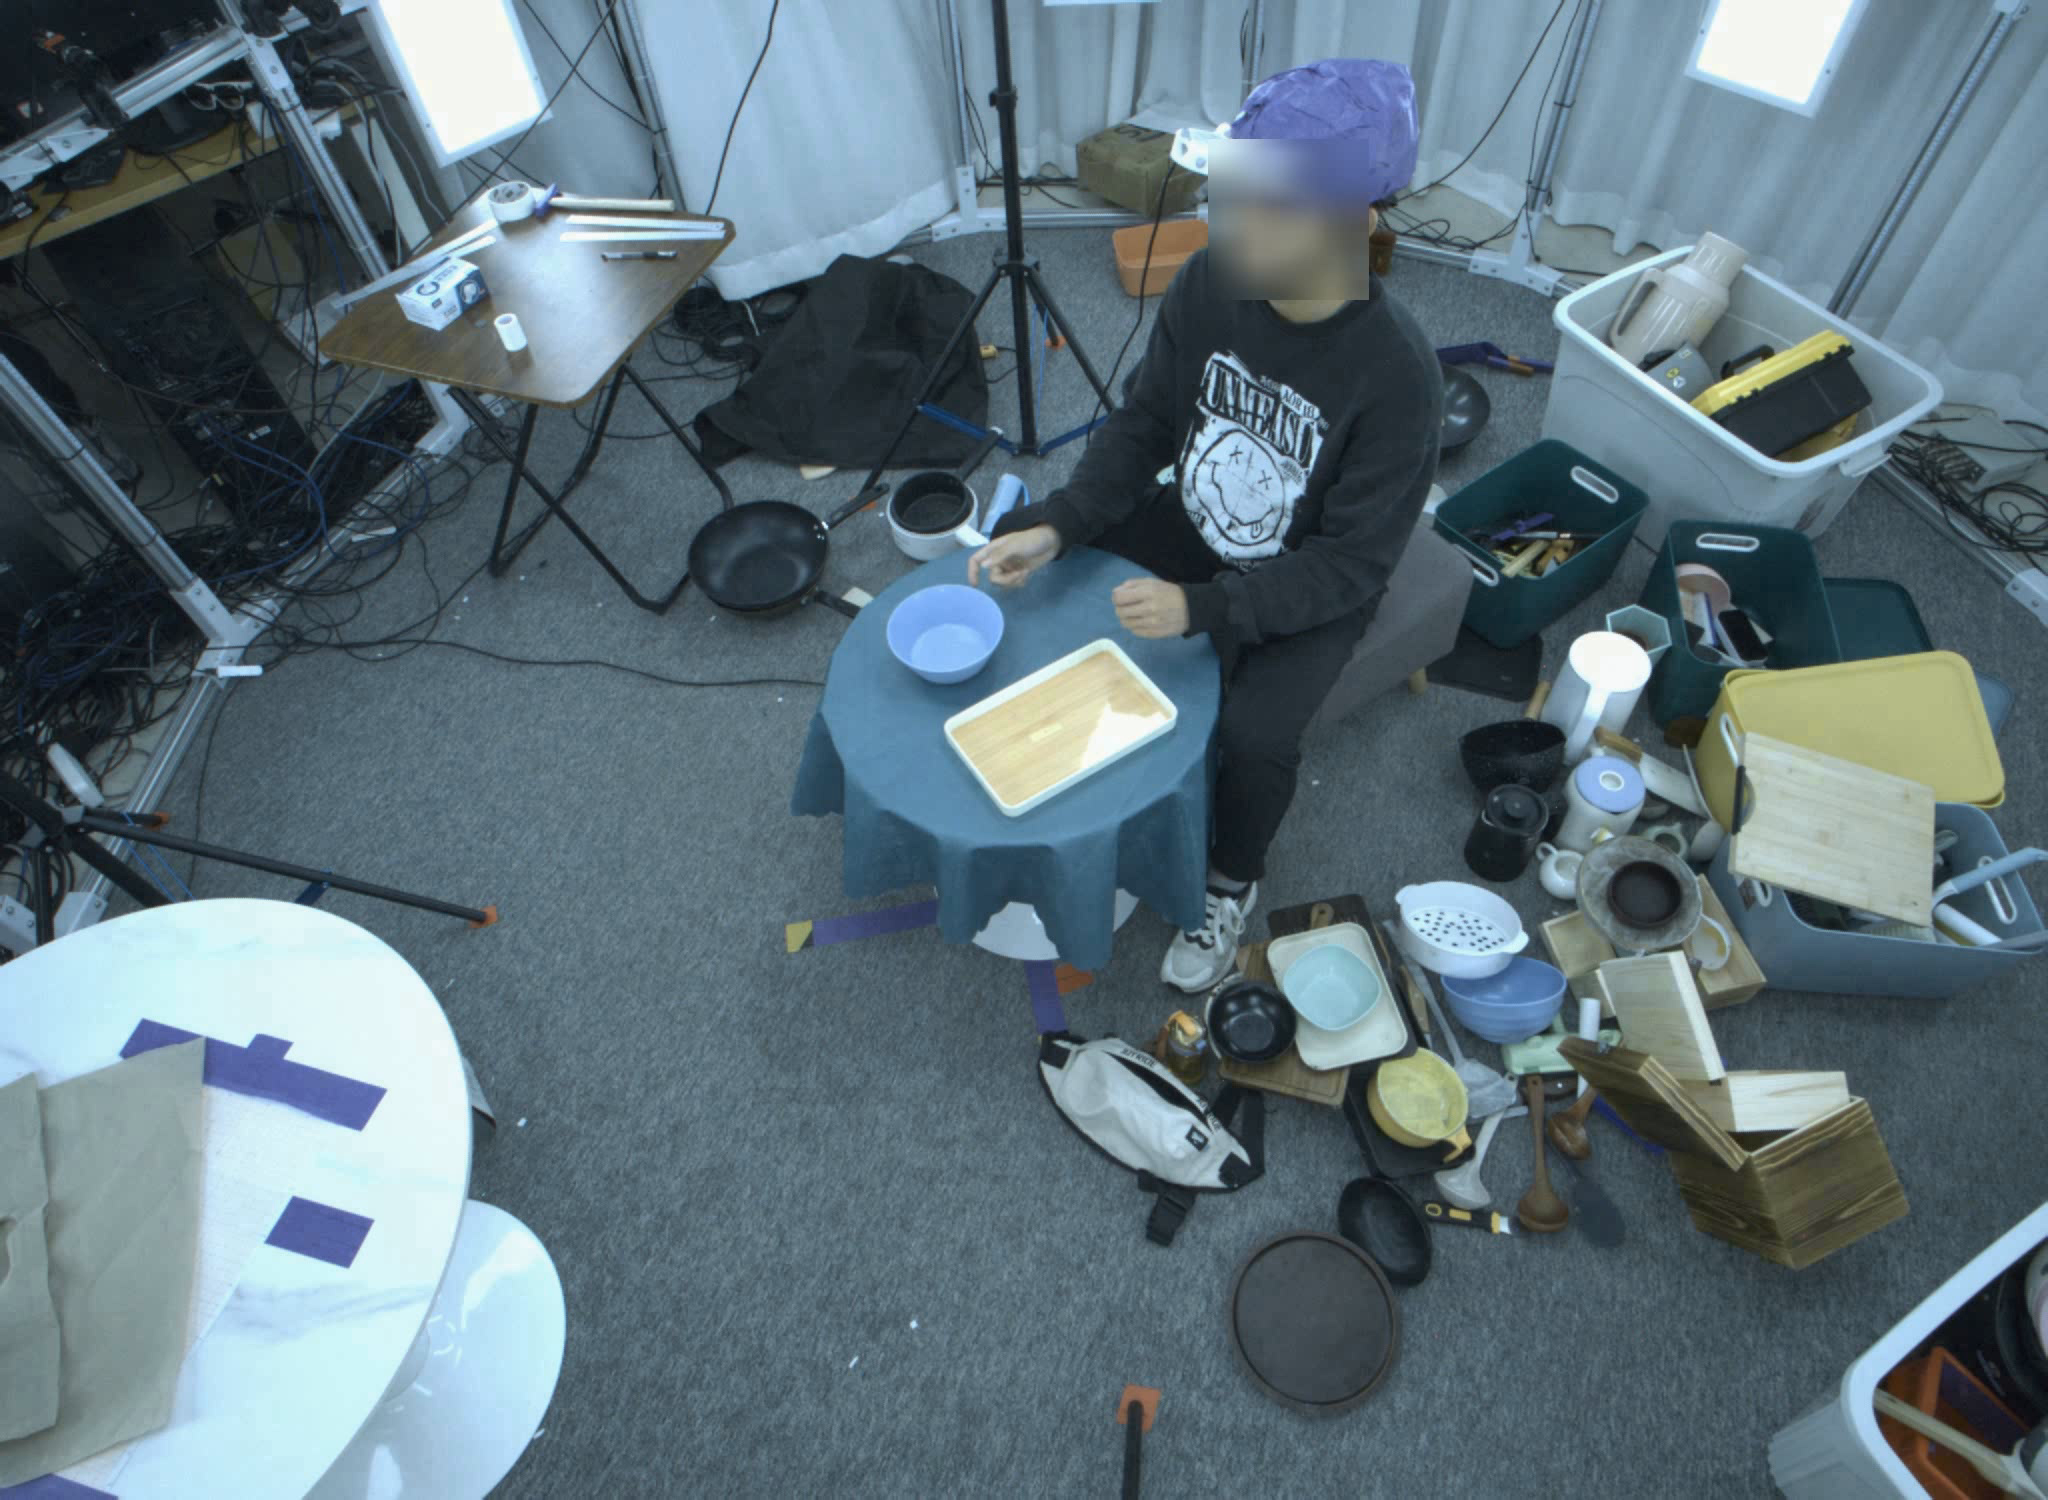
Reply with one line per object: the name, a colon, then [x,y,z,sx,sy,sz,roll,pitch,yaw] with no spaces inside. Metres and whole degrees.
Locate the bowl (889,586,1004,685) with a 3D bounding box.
bowl: [-0.116,-0.164,1.873,0.176,0.071,0.174,0,56,2]

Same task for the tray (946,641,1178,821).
tray: [0.056,-0.033,1.803,0.302,0.028,0.188,-29,60,-17]
